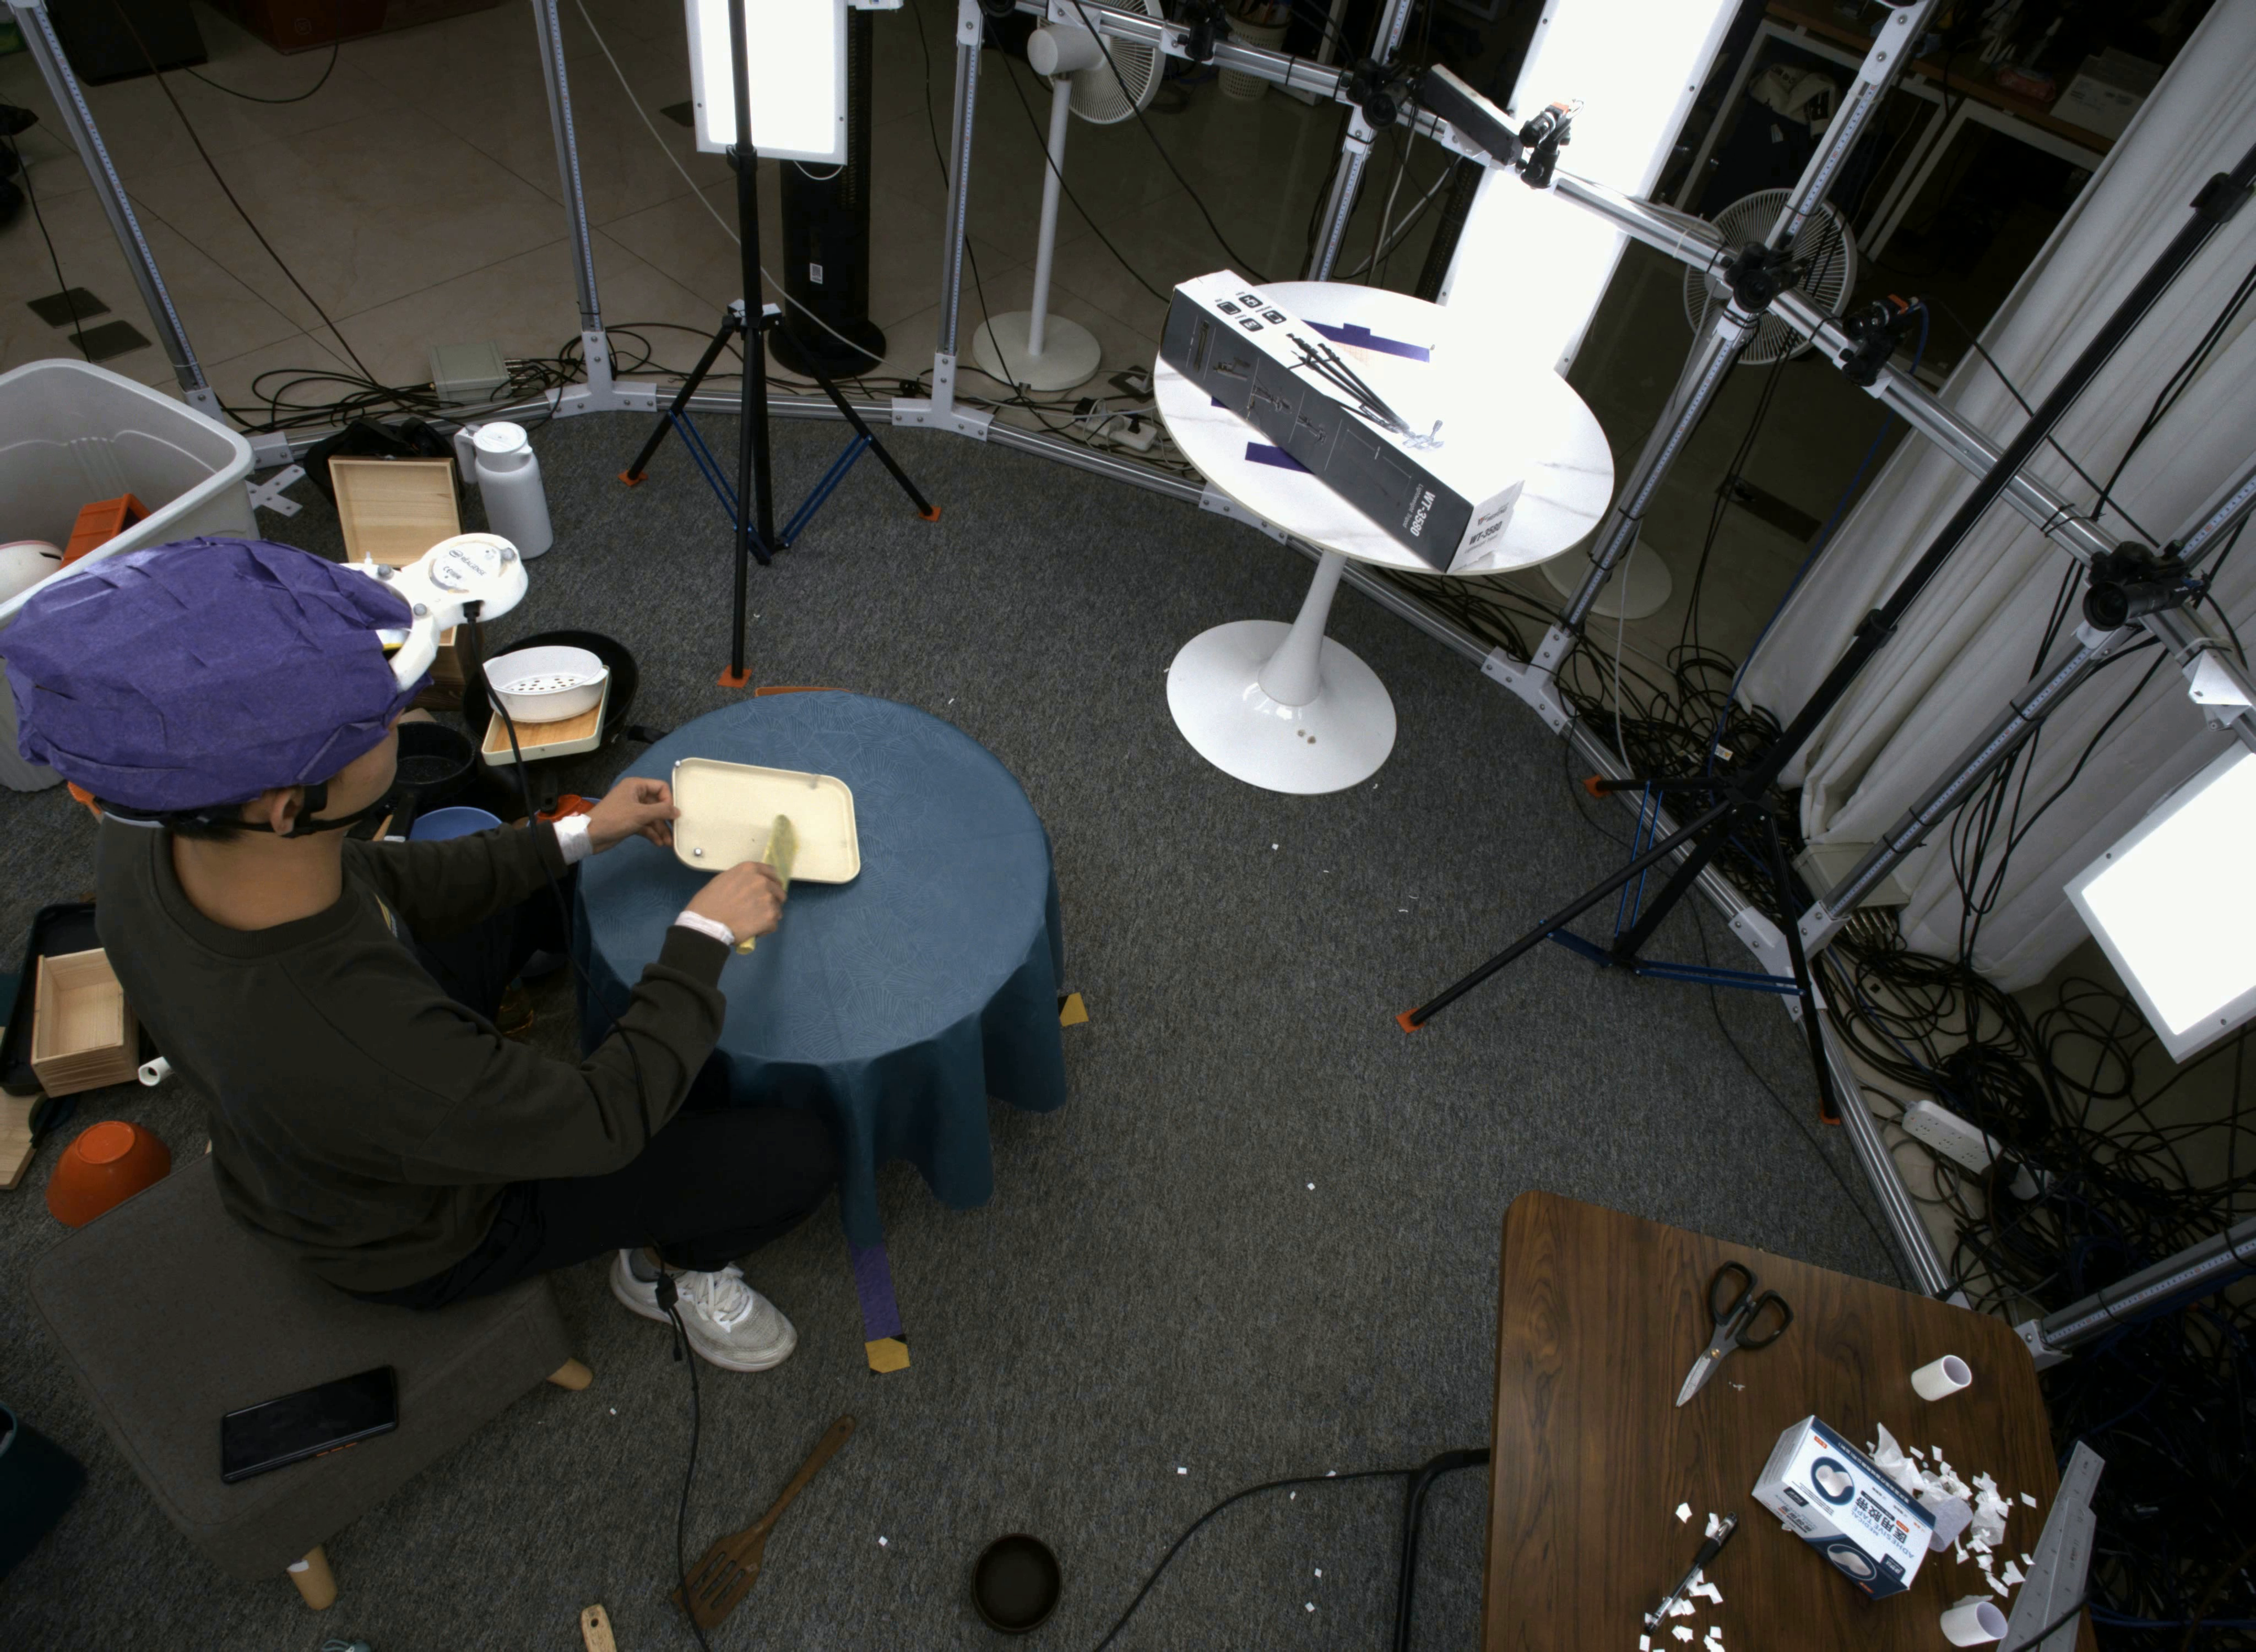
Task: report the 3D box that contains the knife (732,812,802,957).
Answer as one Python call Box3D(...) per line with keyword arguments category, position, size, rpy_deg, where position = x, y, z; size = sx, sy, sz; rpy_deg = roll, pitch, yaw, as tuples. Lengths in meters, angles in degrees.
Box3D(category="knife", position=(-0.426, 0.071, 1.554), size=(0.027, 0.084, 0.283), rpy_deg=(-9, 31, 6))

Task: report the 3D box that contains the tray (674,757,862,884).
Box3D(category="tray", position=(-0.466, -0.006, 1.672), size=(0.244, 0.017, 0.168), rpy_deg=(8, 54, -32))
